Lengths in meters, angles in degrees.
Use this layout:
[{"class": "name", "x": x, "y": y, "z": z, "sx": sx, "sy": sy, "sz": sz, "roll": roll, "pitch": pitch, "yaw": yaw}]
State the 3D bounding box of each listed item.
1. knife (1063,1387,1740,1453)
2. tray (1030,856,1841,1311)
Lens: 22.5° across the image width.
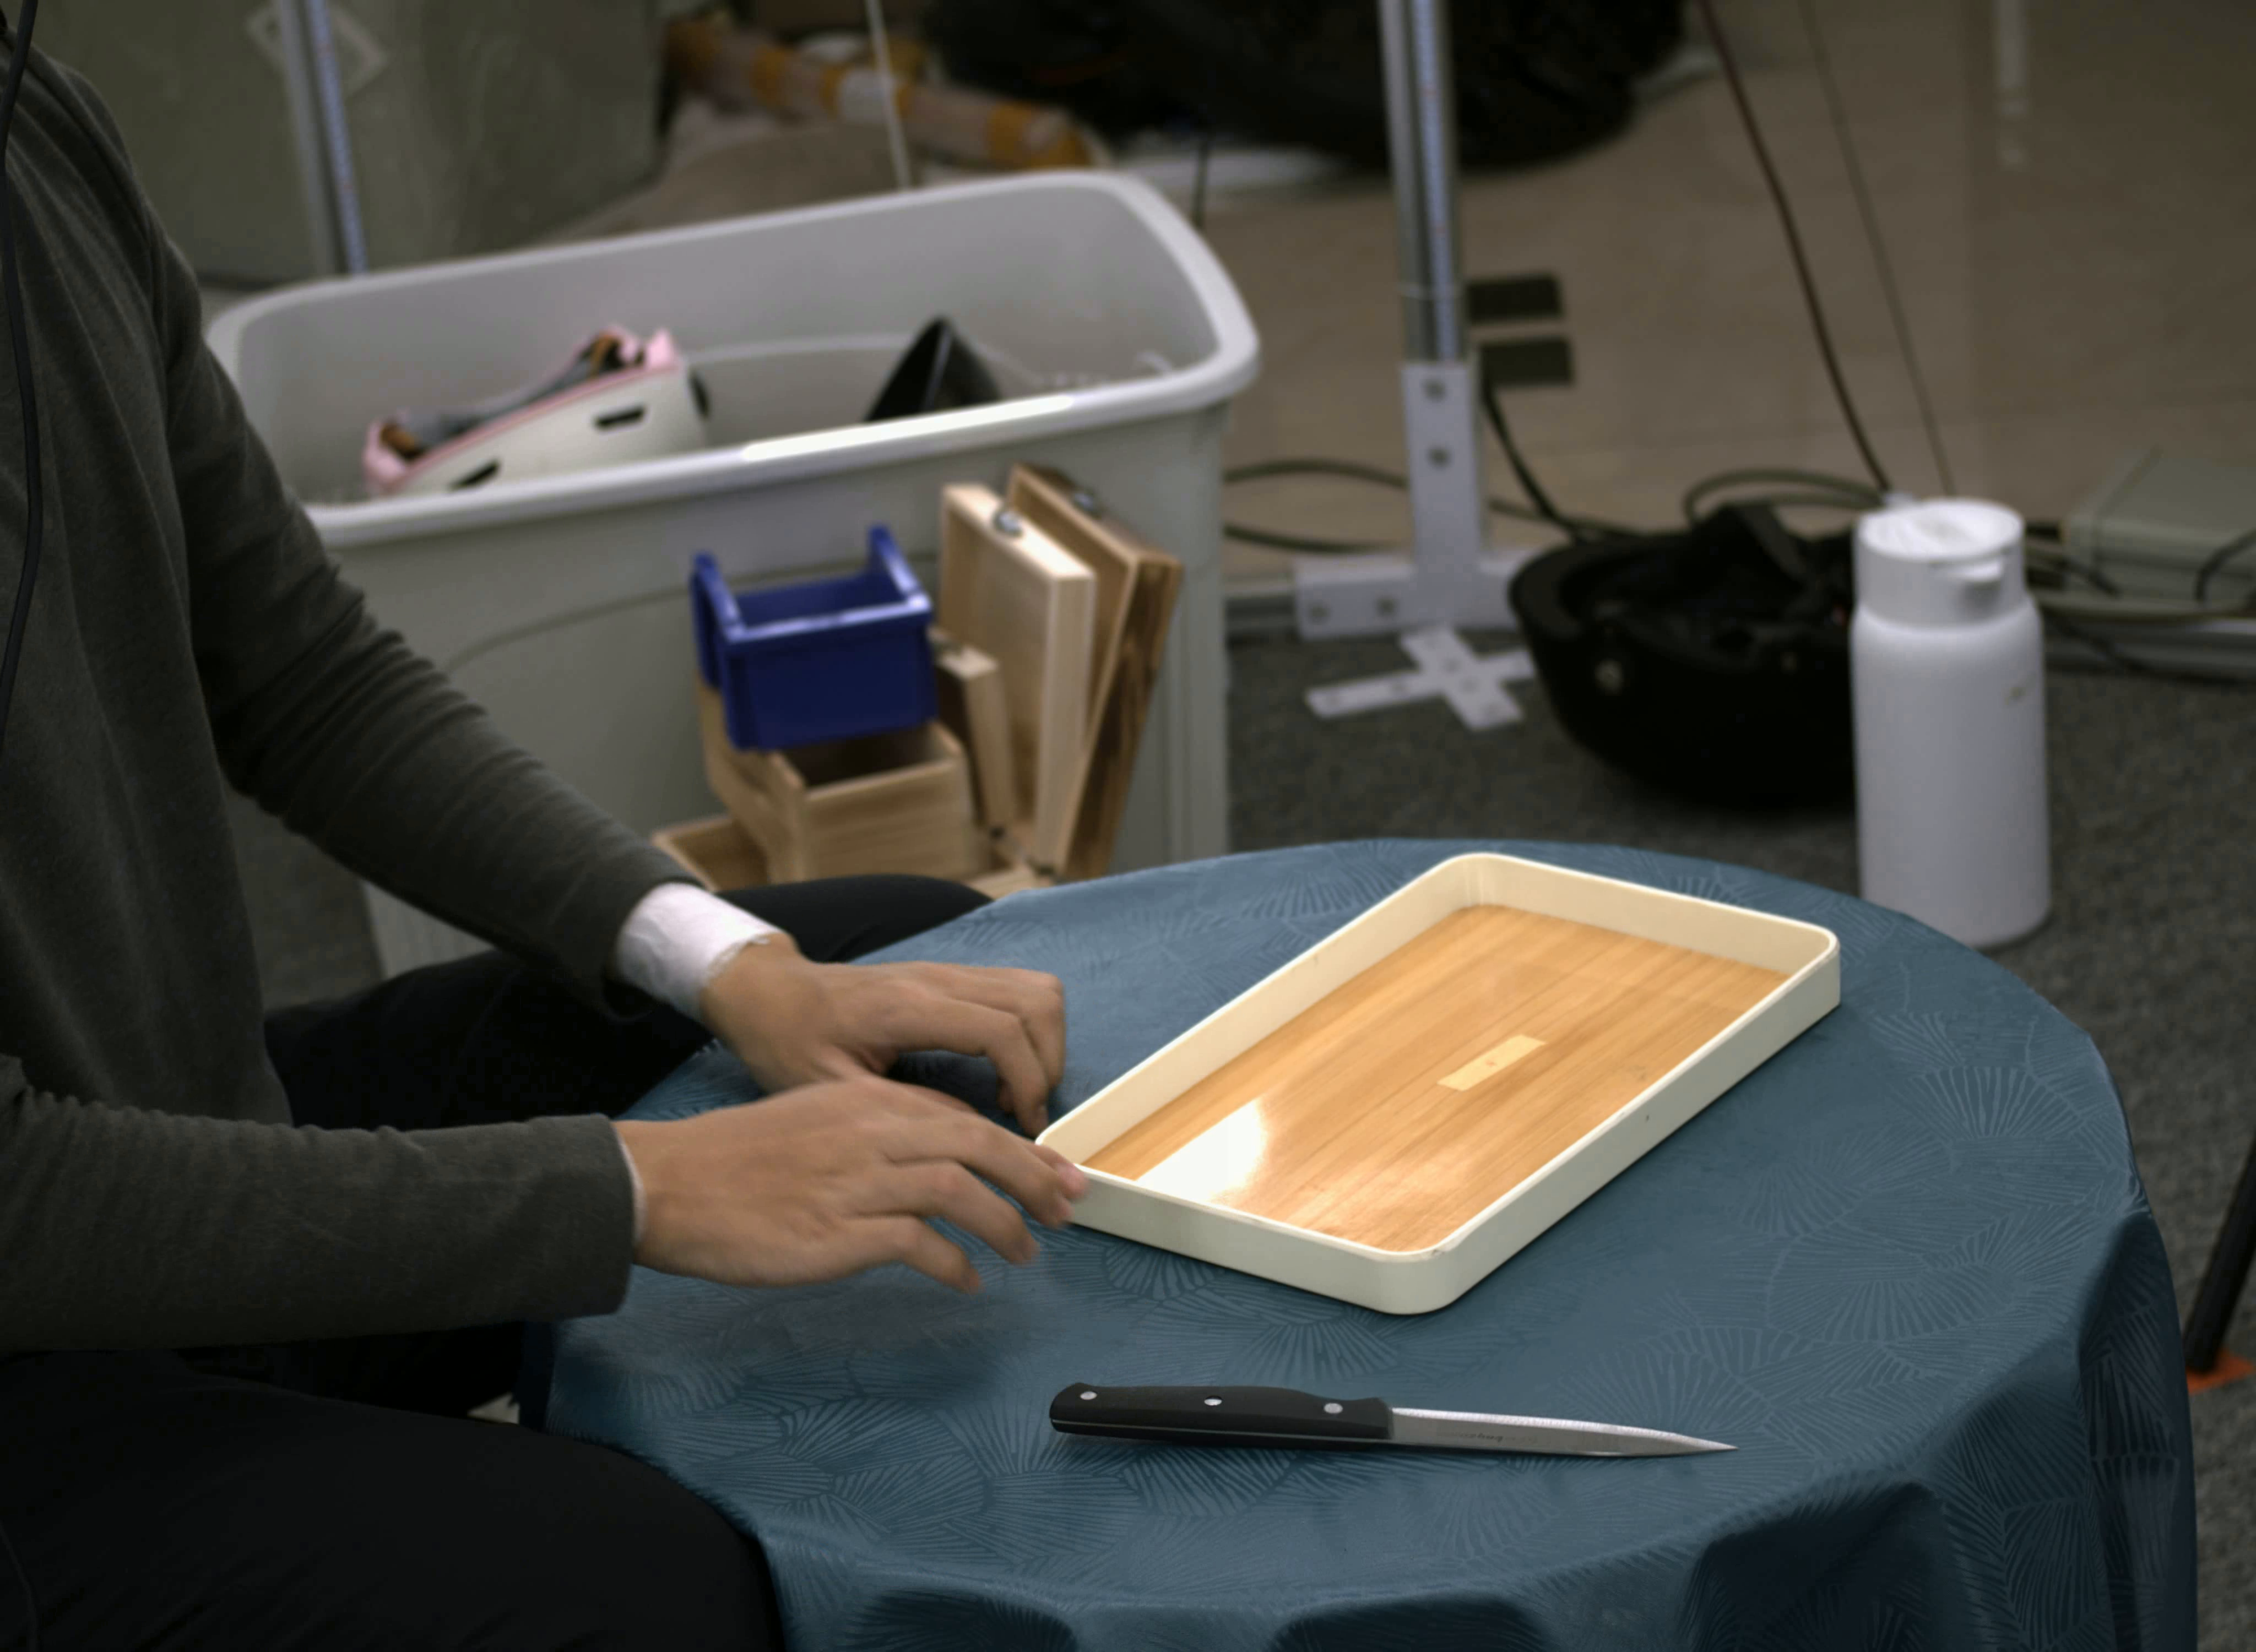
[{"class": "knife", "x": 0.092, "y": 0.208, "z": 1.966, "sx": 0.237, "sy": 0.016, "sz": 0.024, "roll": 2, "pitch": 26, "yaw": 11}, {"class": "tray", "x": 0.122, "y": 0.094, "z": 2.187, "sx": 0.190, "sy": 0.028, "sz": 0.297, "roll": 13, "pitch": 31, "yaw": 38}]
